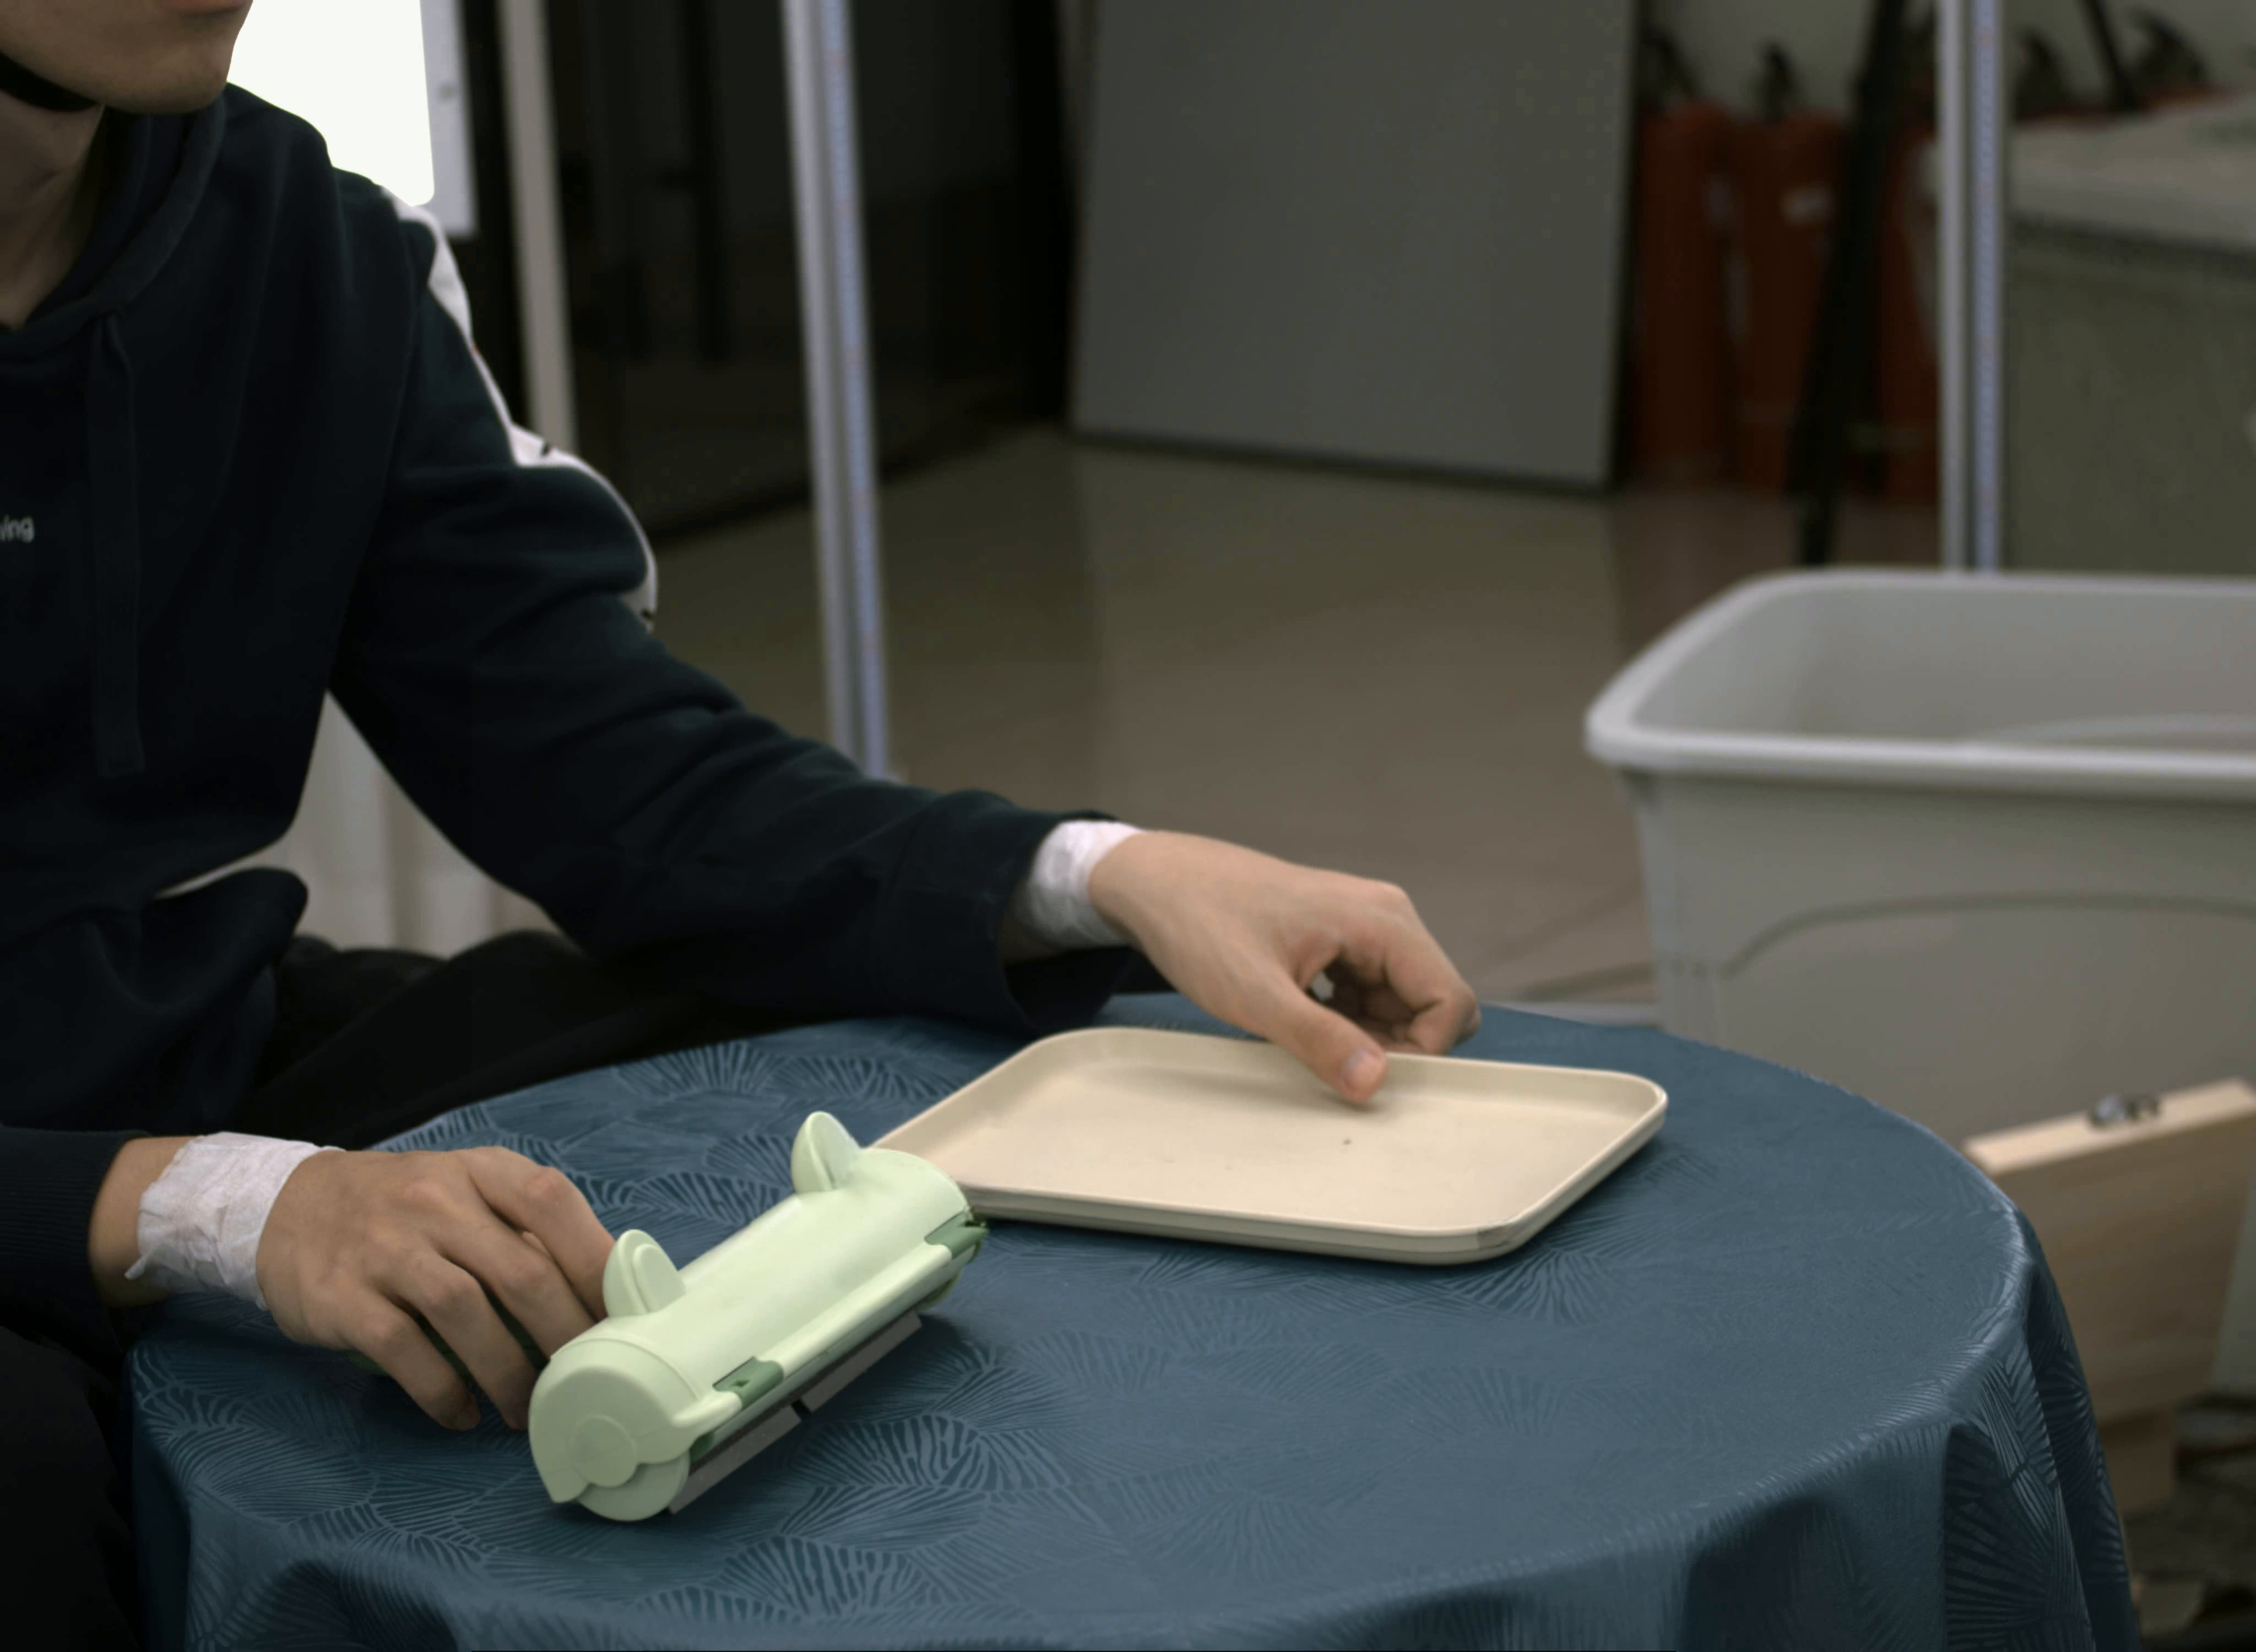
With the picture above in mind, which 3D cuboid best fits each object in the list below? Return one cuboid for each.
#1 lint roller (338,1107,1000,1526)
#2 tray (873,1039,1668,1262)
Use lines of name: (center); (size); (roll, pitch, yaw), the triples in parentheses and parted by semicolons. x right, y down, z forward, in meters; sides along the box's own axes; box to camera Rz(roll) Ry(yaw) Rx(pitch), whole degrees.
lint roller: (-0.157, 0.134, 1.605); (0.183, 0.083, 0.196); (7, 17, 24)
tray: (0.048, 0.107, 1.779); (0.240, 0.017, 0.169); (3, 15, 28)
